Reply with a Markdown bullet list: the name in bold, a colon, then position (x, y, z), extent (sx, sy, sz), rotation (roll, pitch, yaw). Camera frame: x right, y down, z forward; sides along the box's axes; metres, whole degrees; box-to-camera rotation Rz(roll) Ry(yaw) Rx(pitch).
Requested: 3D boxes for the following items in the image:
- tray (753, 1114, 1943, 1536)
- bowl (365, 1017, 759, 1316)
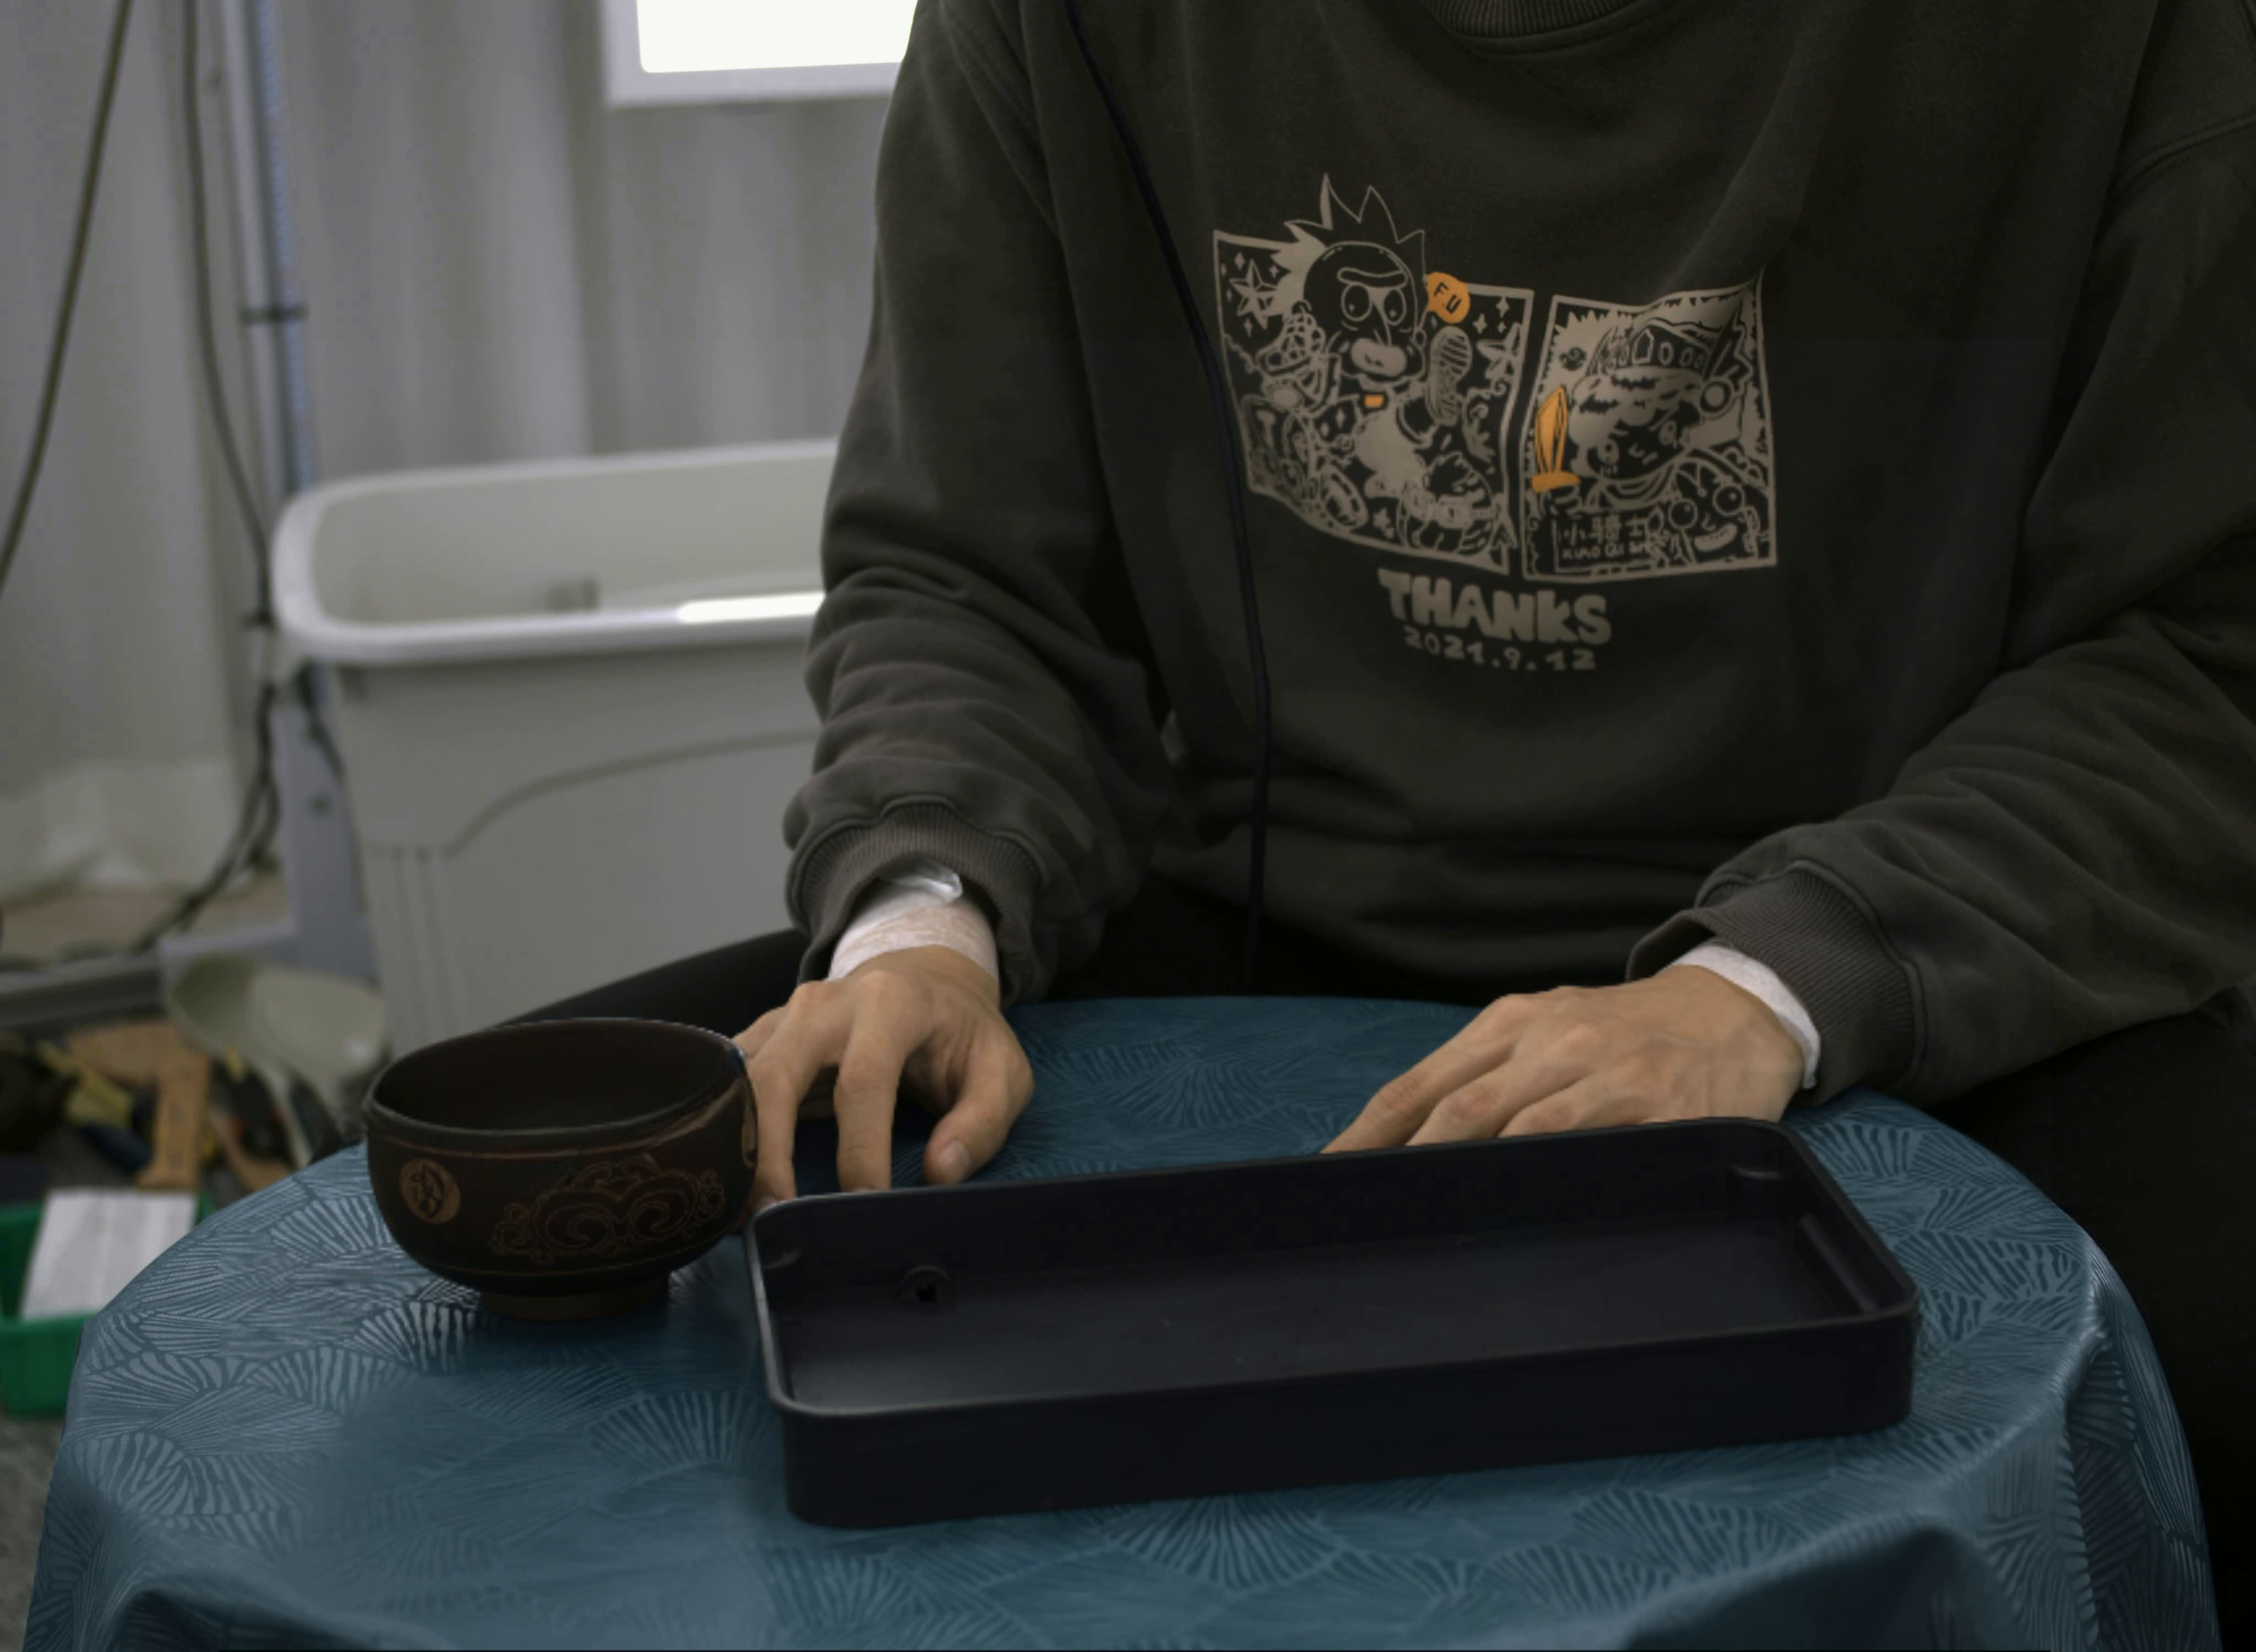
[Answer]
- **tray**: position (0.058, 0.138, 1.555), extent (0.316, 0.037, 0.185), rotation (-5, 15, -8)
- **bowl**: position (-0.169, 0.106, 1.650), extent (0.117, 0.069, 0.119), rotation (-2, 13, 0)
